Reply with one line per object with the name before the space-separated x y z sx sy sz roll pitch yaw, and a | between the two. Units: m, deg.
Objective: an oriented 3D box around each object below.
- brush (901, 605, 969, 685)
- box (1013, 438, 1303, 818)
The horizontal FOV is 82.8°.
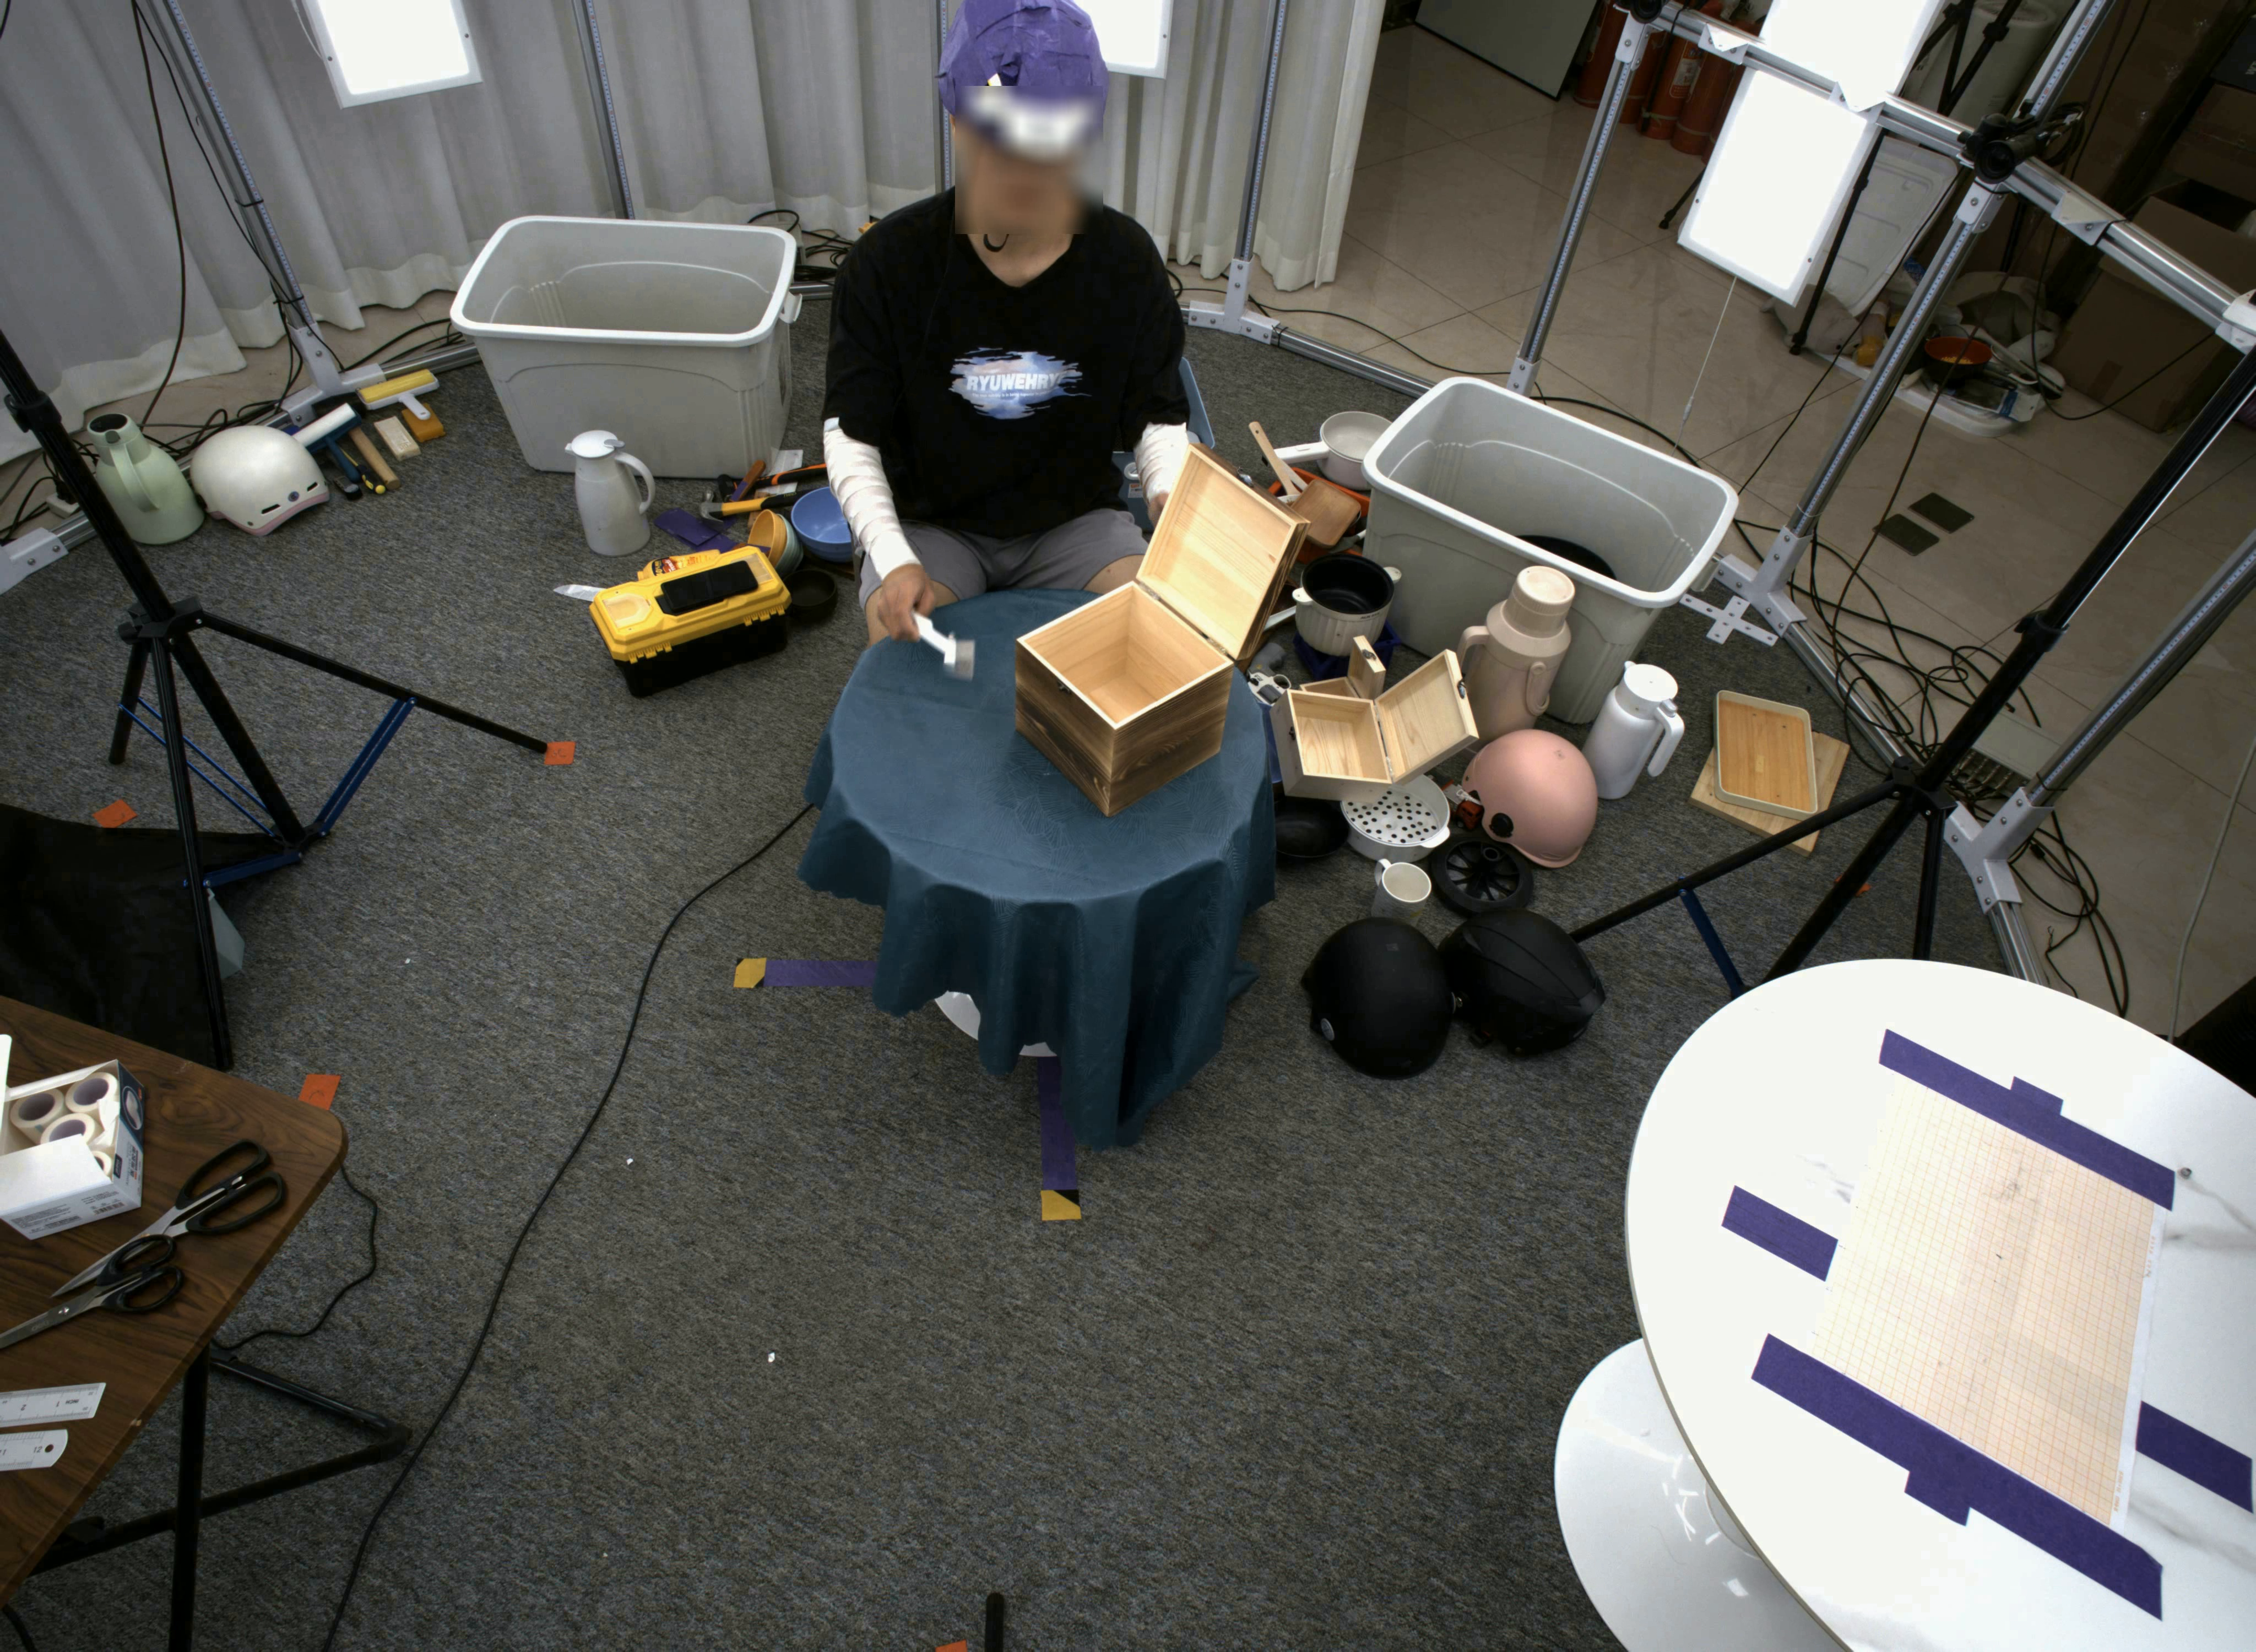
brush | -0.254 -0.245 1.713 0.050 0.034 0.249 -5 29 -21
box | 0.033 -0.259 1.665 0.324 0.366 0.212 -32 58 -26
